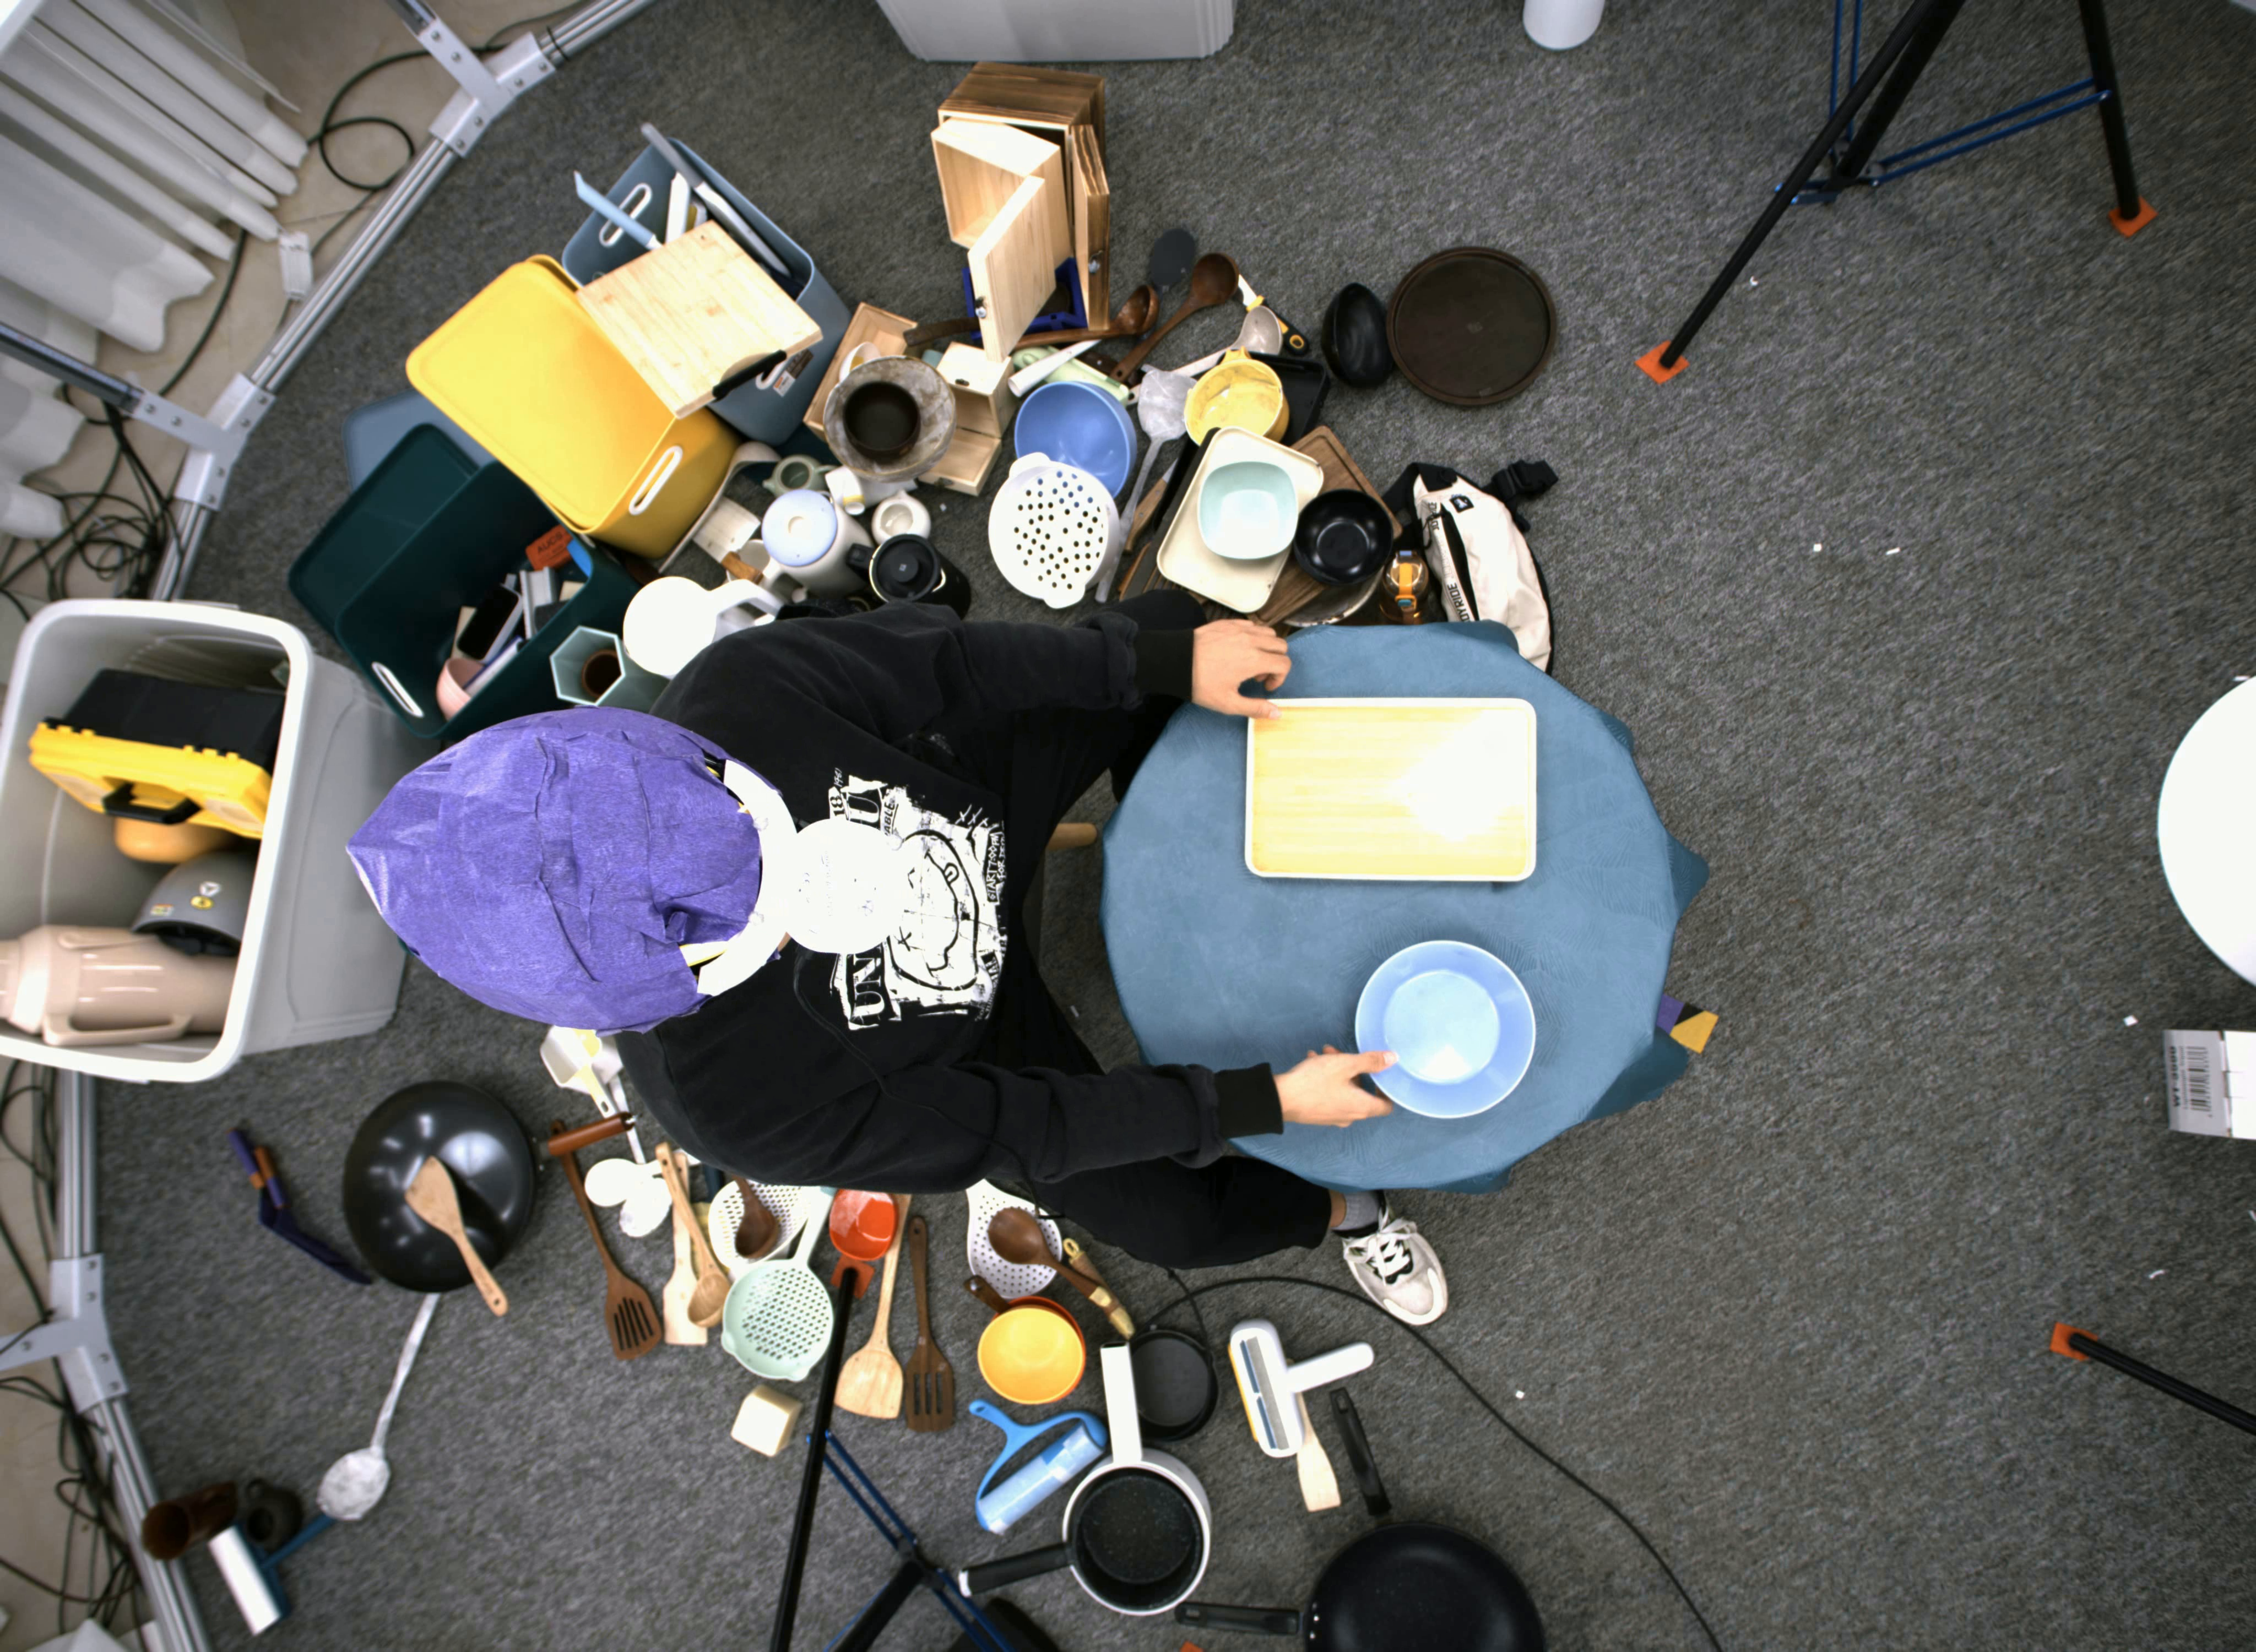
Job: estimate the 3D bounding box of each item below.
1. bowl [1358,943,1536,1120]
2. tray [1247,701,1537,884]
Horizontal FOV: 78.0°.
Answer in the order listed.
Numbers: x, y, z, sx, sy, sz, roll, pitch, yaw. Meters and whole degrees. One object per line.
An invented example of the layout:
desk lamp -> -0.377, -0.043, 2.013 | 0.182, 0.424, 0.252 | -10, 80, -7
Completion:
bowl -> 0.322, 0.207, 1.410 | 0.177, 0.070, 0.175 | -1, 85, 9
tray -> 0.278, -0.037, 1.458 | 0.301, 0.027, 0.190 | 1, 86, 10
